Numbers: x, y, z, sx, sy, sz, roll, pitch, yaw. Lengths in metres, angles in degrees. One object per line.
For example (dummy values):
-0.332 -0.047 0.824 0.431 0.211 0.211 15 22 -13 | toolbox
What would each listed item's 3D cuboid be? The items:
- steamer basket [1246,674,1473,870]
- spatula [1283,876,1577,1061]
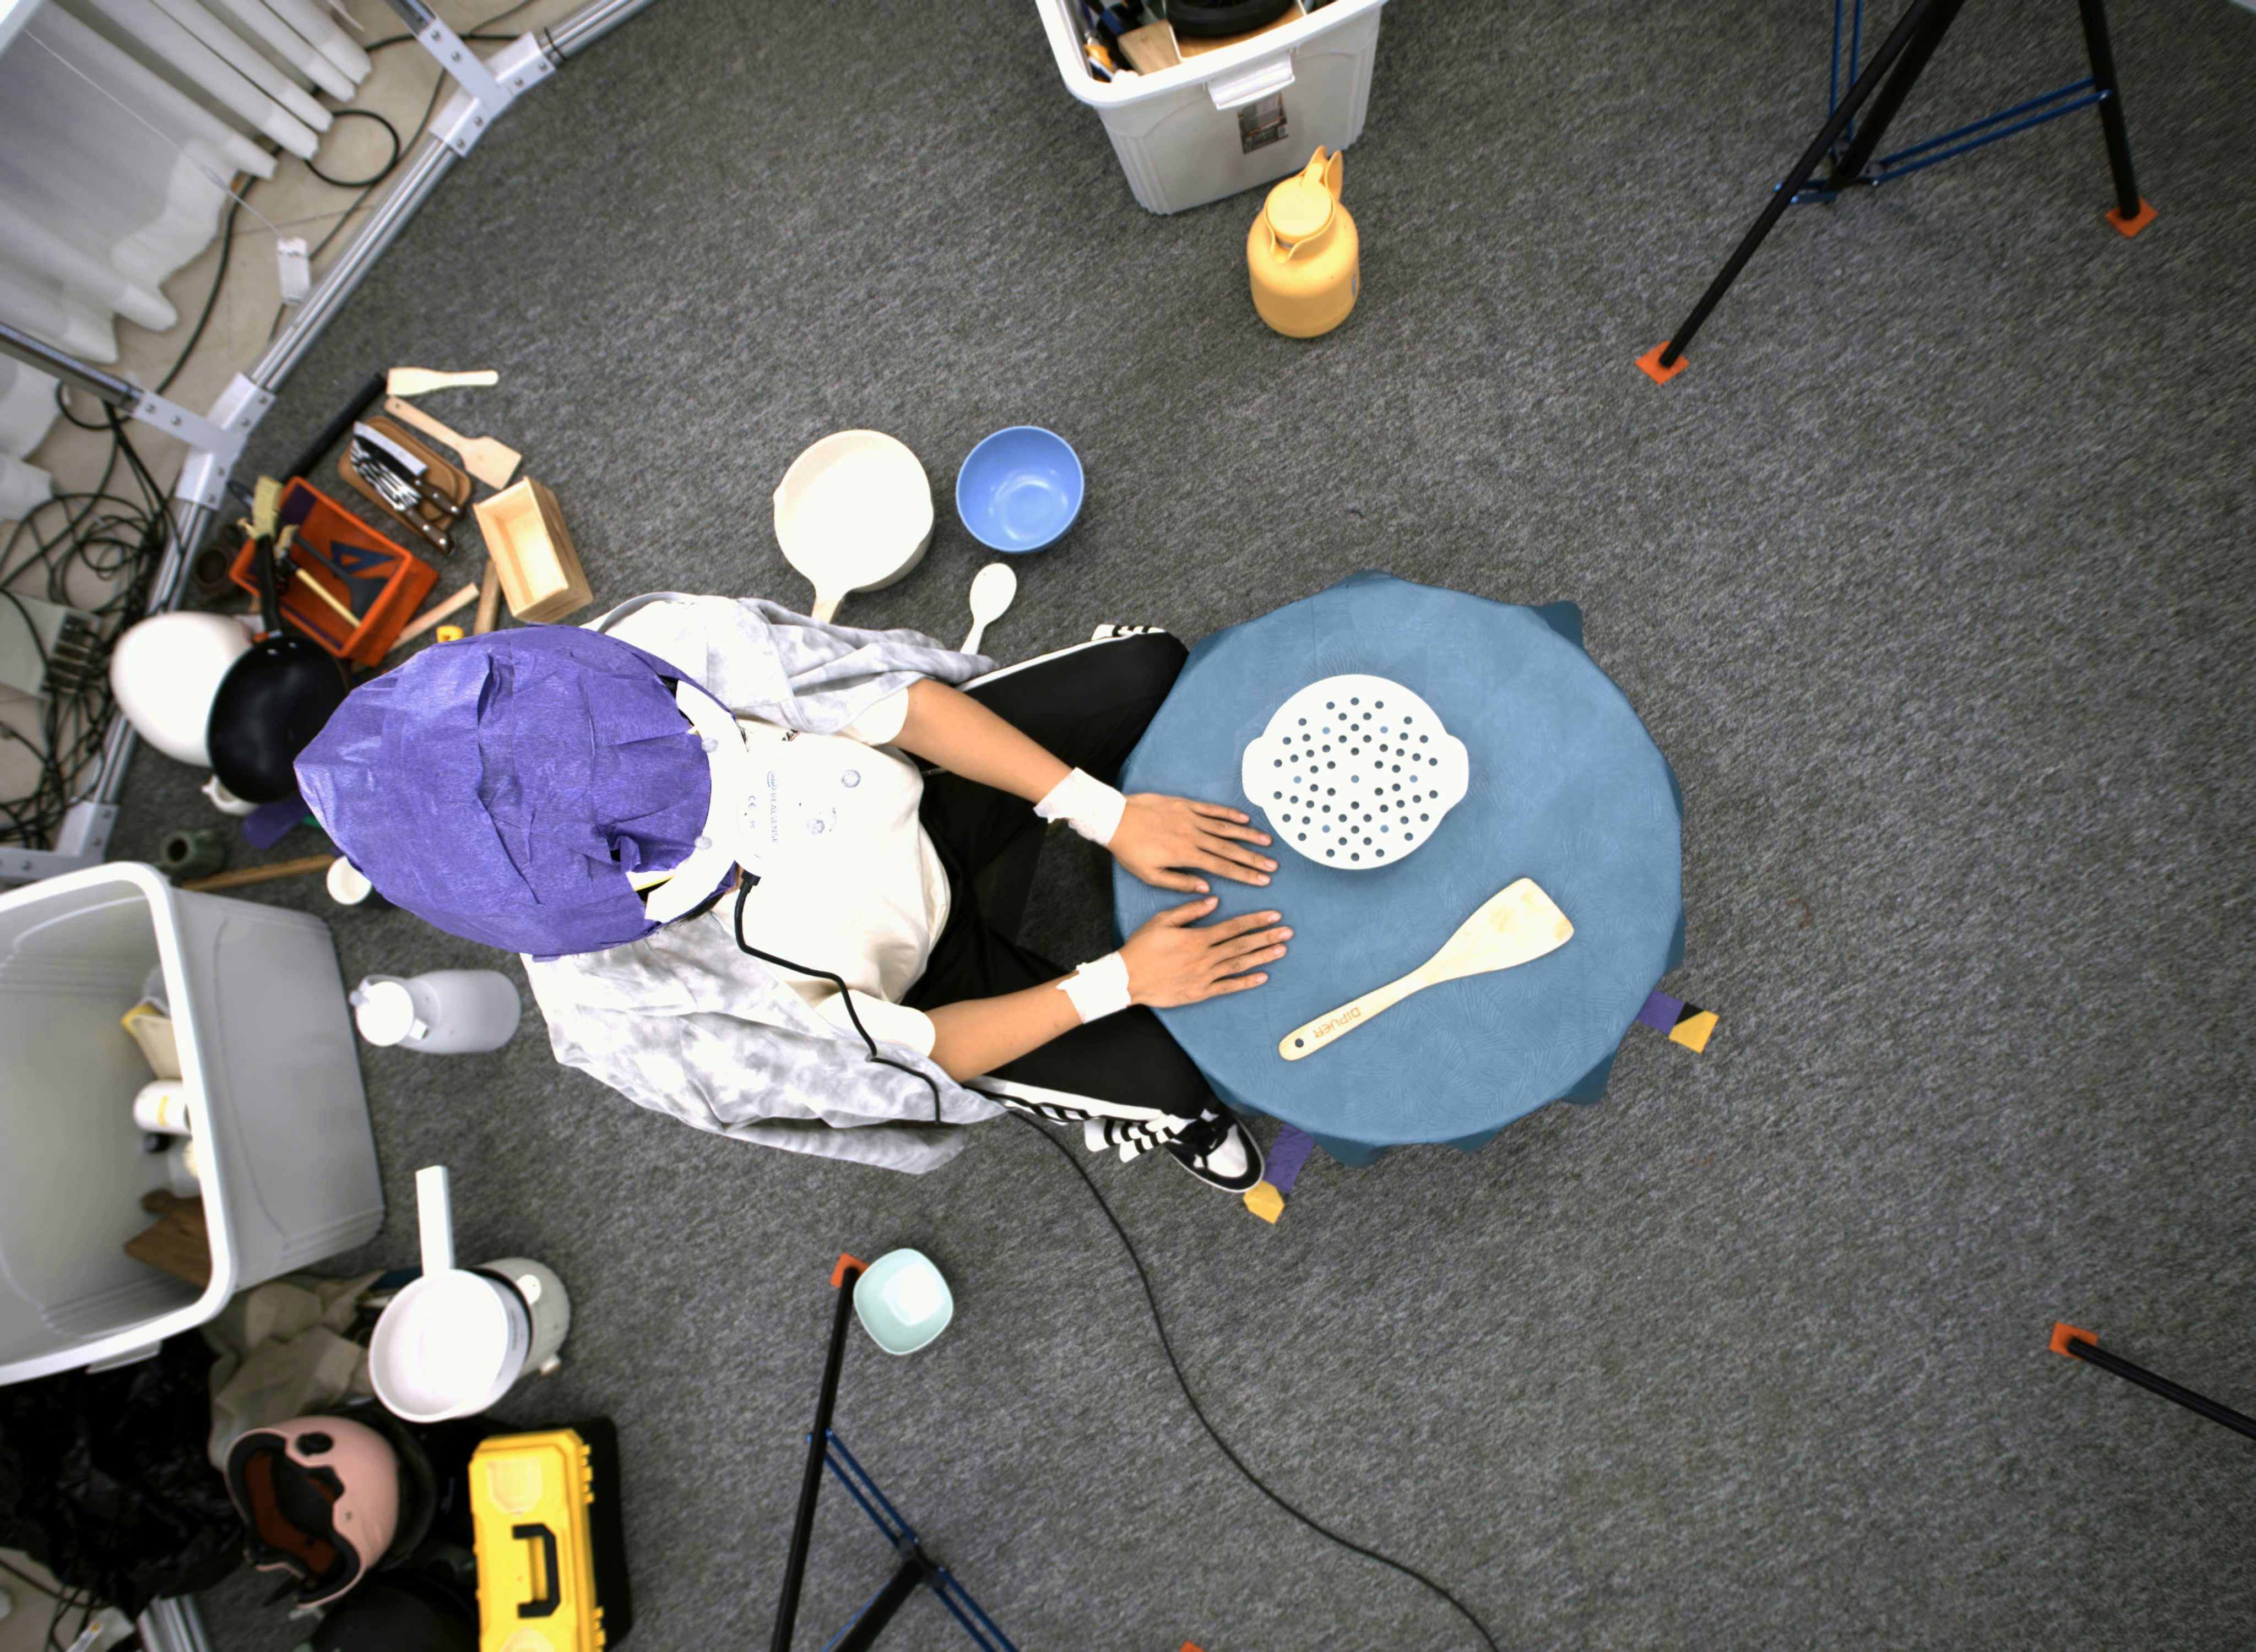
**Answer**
0.241 -0.055 1.437 0.231 0.069 0.201 0 85 12 | steamer basket
0.304 0.156 1.438 0.329 0.016 0.079 -30 81 8 | spatula
